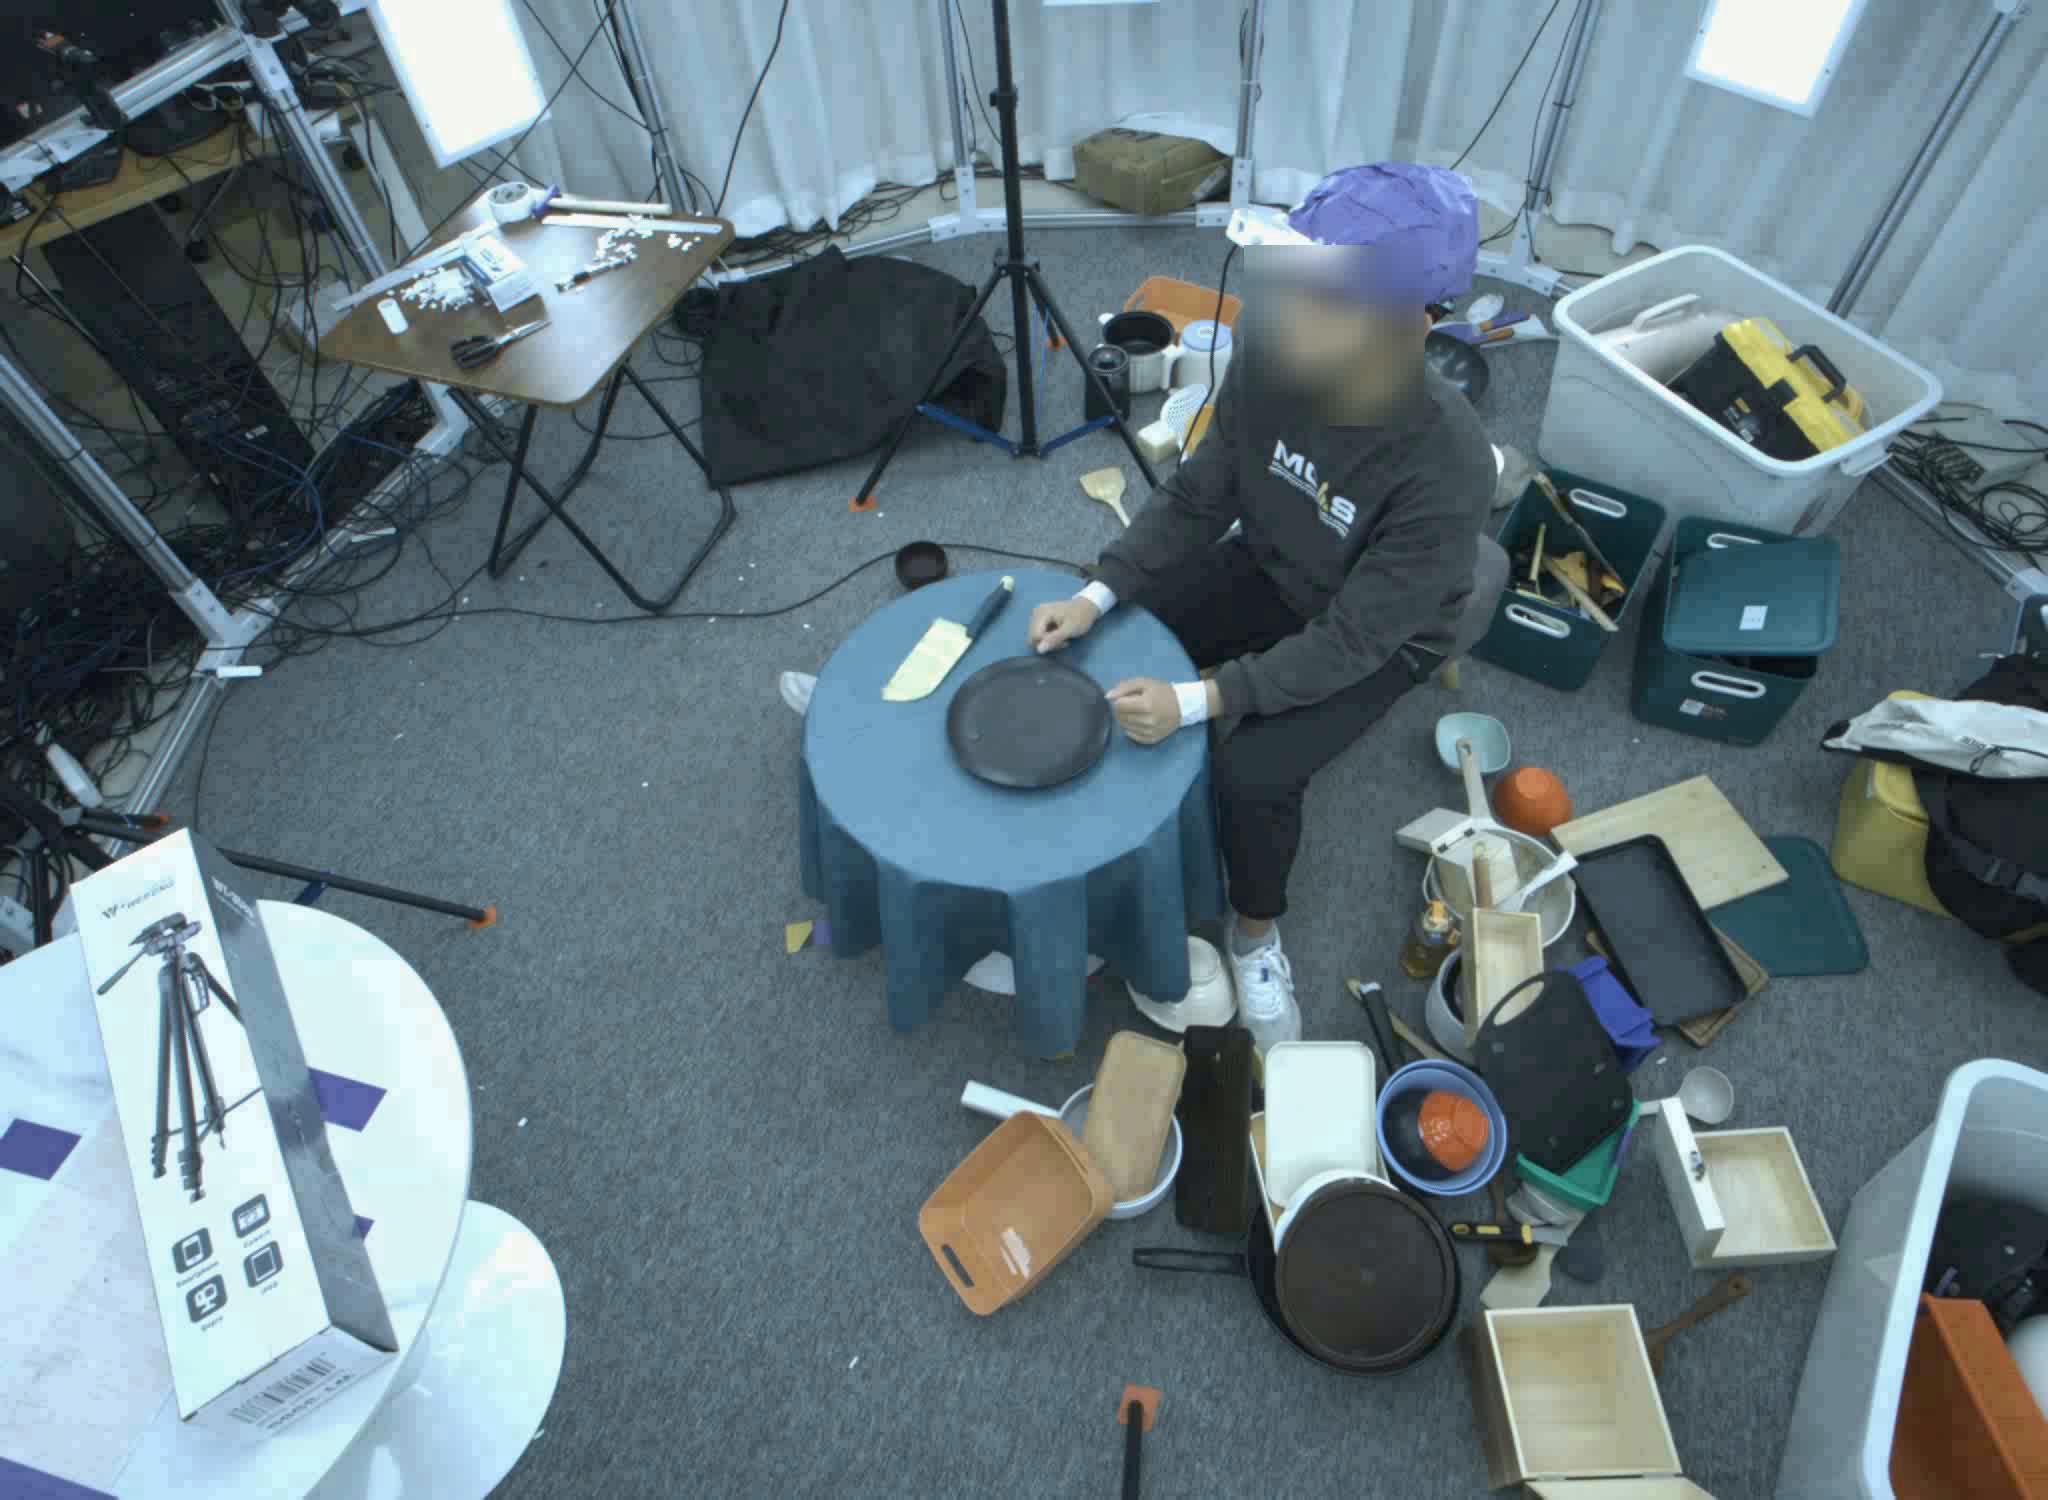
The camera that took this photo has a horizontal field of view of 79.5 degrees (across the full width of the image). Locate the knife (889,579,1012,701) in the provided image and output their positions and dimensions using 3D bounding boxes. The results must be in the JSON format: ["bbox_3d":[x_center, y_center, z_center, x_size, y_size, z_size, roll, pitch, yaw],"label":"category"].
[{"bbox_3d":[-0.114,-0.175,1.914,0.080,0.027,0.291,29,61,19],"label":"knife"}]

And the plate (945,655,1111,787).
[{"bbox_3d":[0.006,-0.041,1.810,0.244,0.023,0.242,0,54,1],"label":"plate"}]
